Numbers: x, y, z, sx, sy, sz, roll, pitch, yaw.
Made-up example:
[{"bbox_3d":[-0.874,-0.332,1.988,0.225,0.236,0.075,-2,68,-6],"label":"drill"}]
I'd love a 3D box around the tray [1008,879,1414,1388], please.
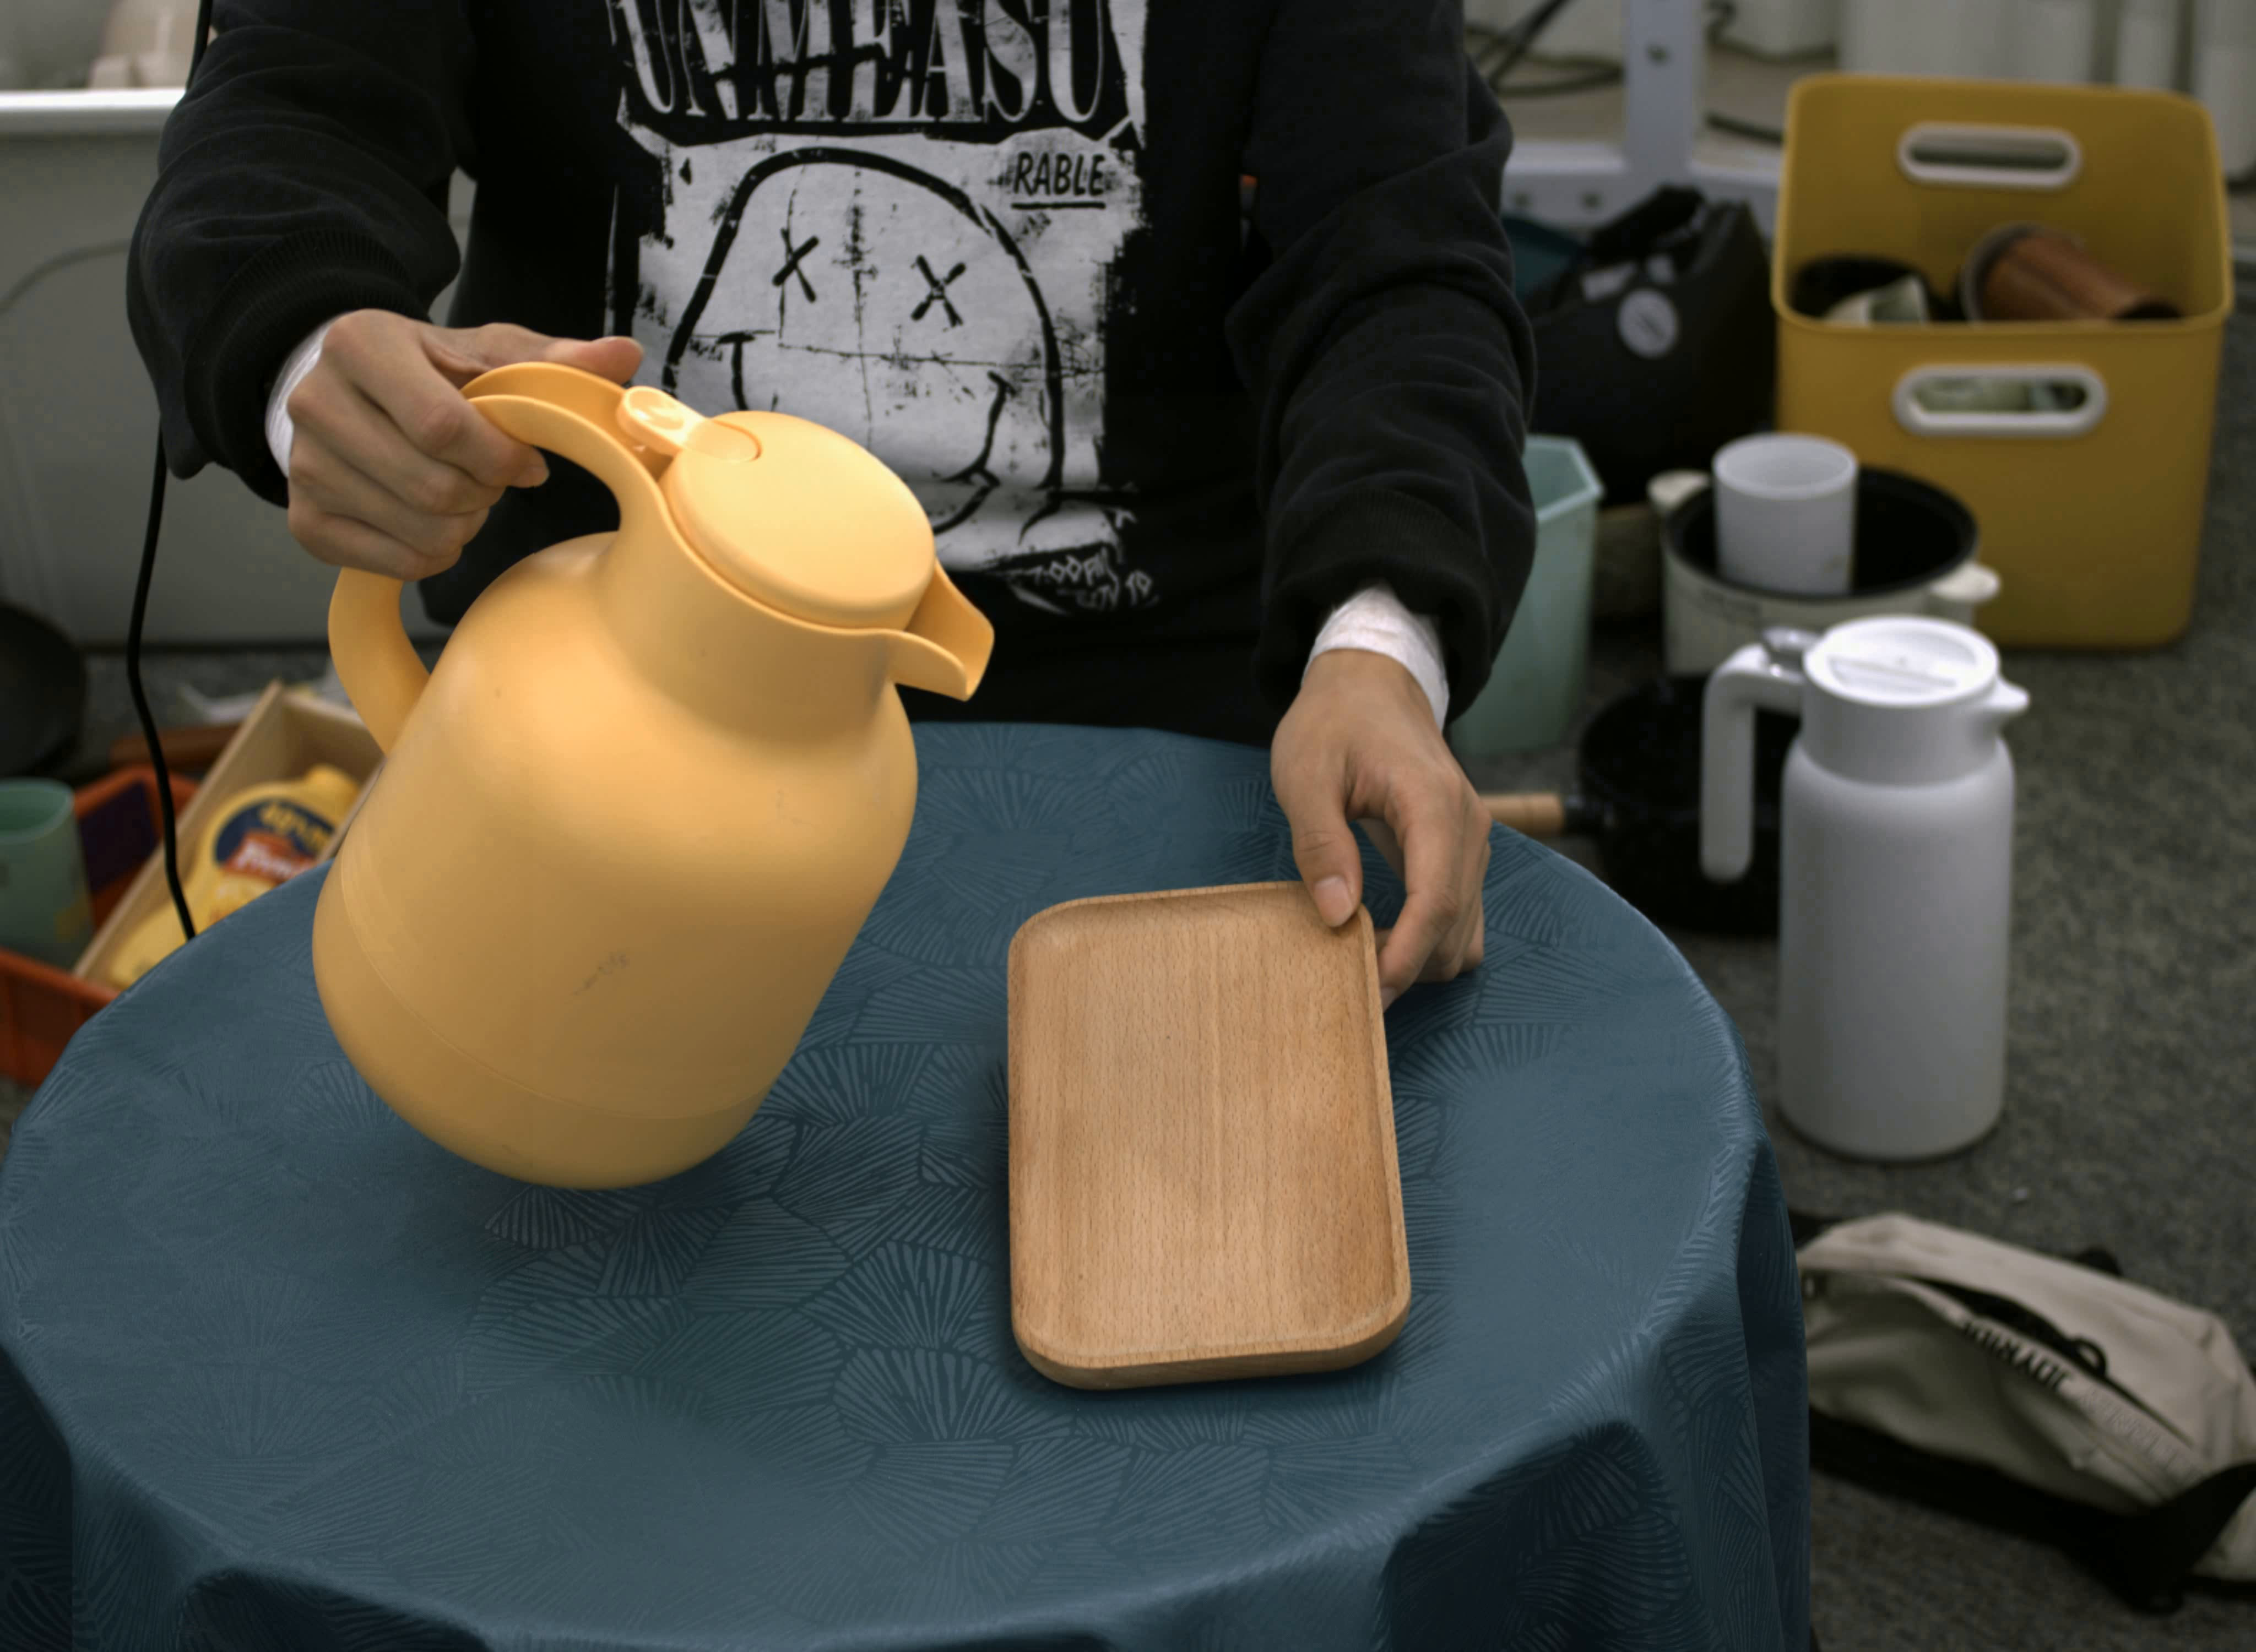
[{"bbox_3d":[0.025,0.098,1.848,0.130,0.022,0.255,-2,34,1],"label":"tray"}]

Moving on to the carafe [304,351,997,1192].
[{"bbox_3d":[-0.167,-0.027,1.806,0.202,0.256,0.166,35,32,3],"label":"carafe"}]
